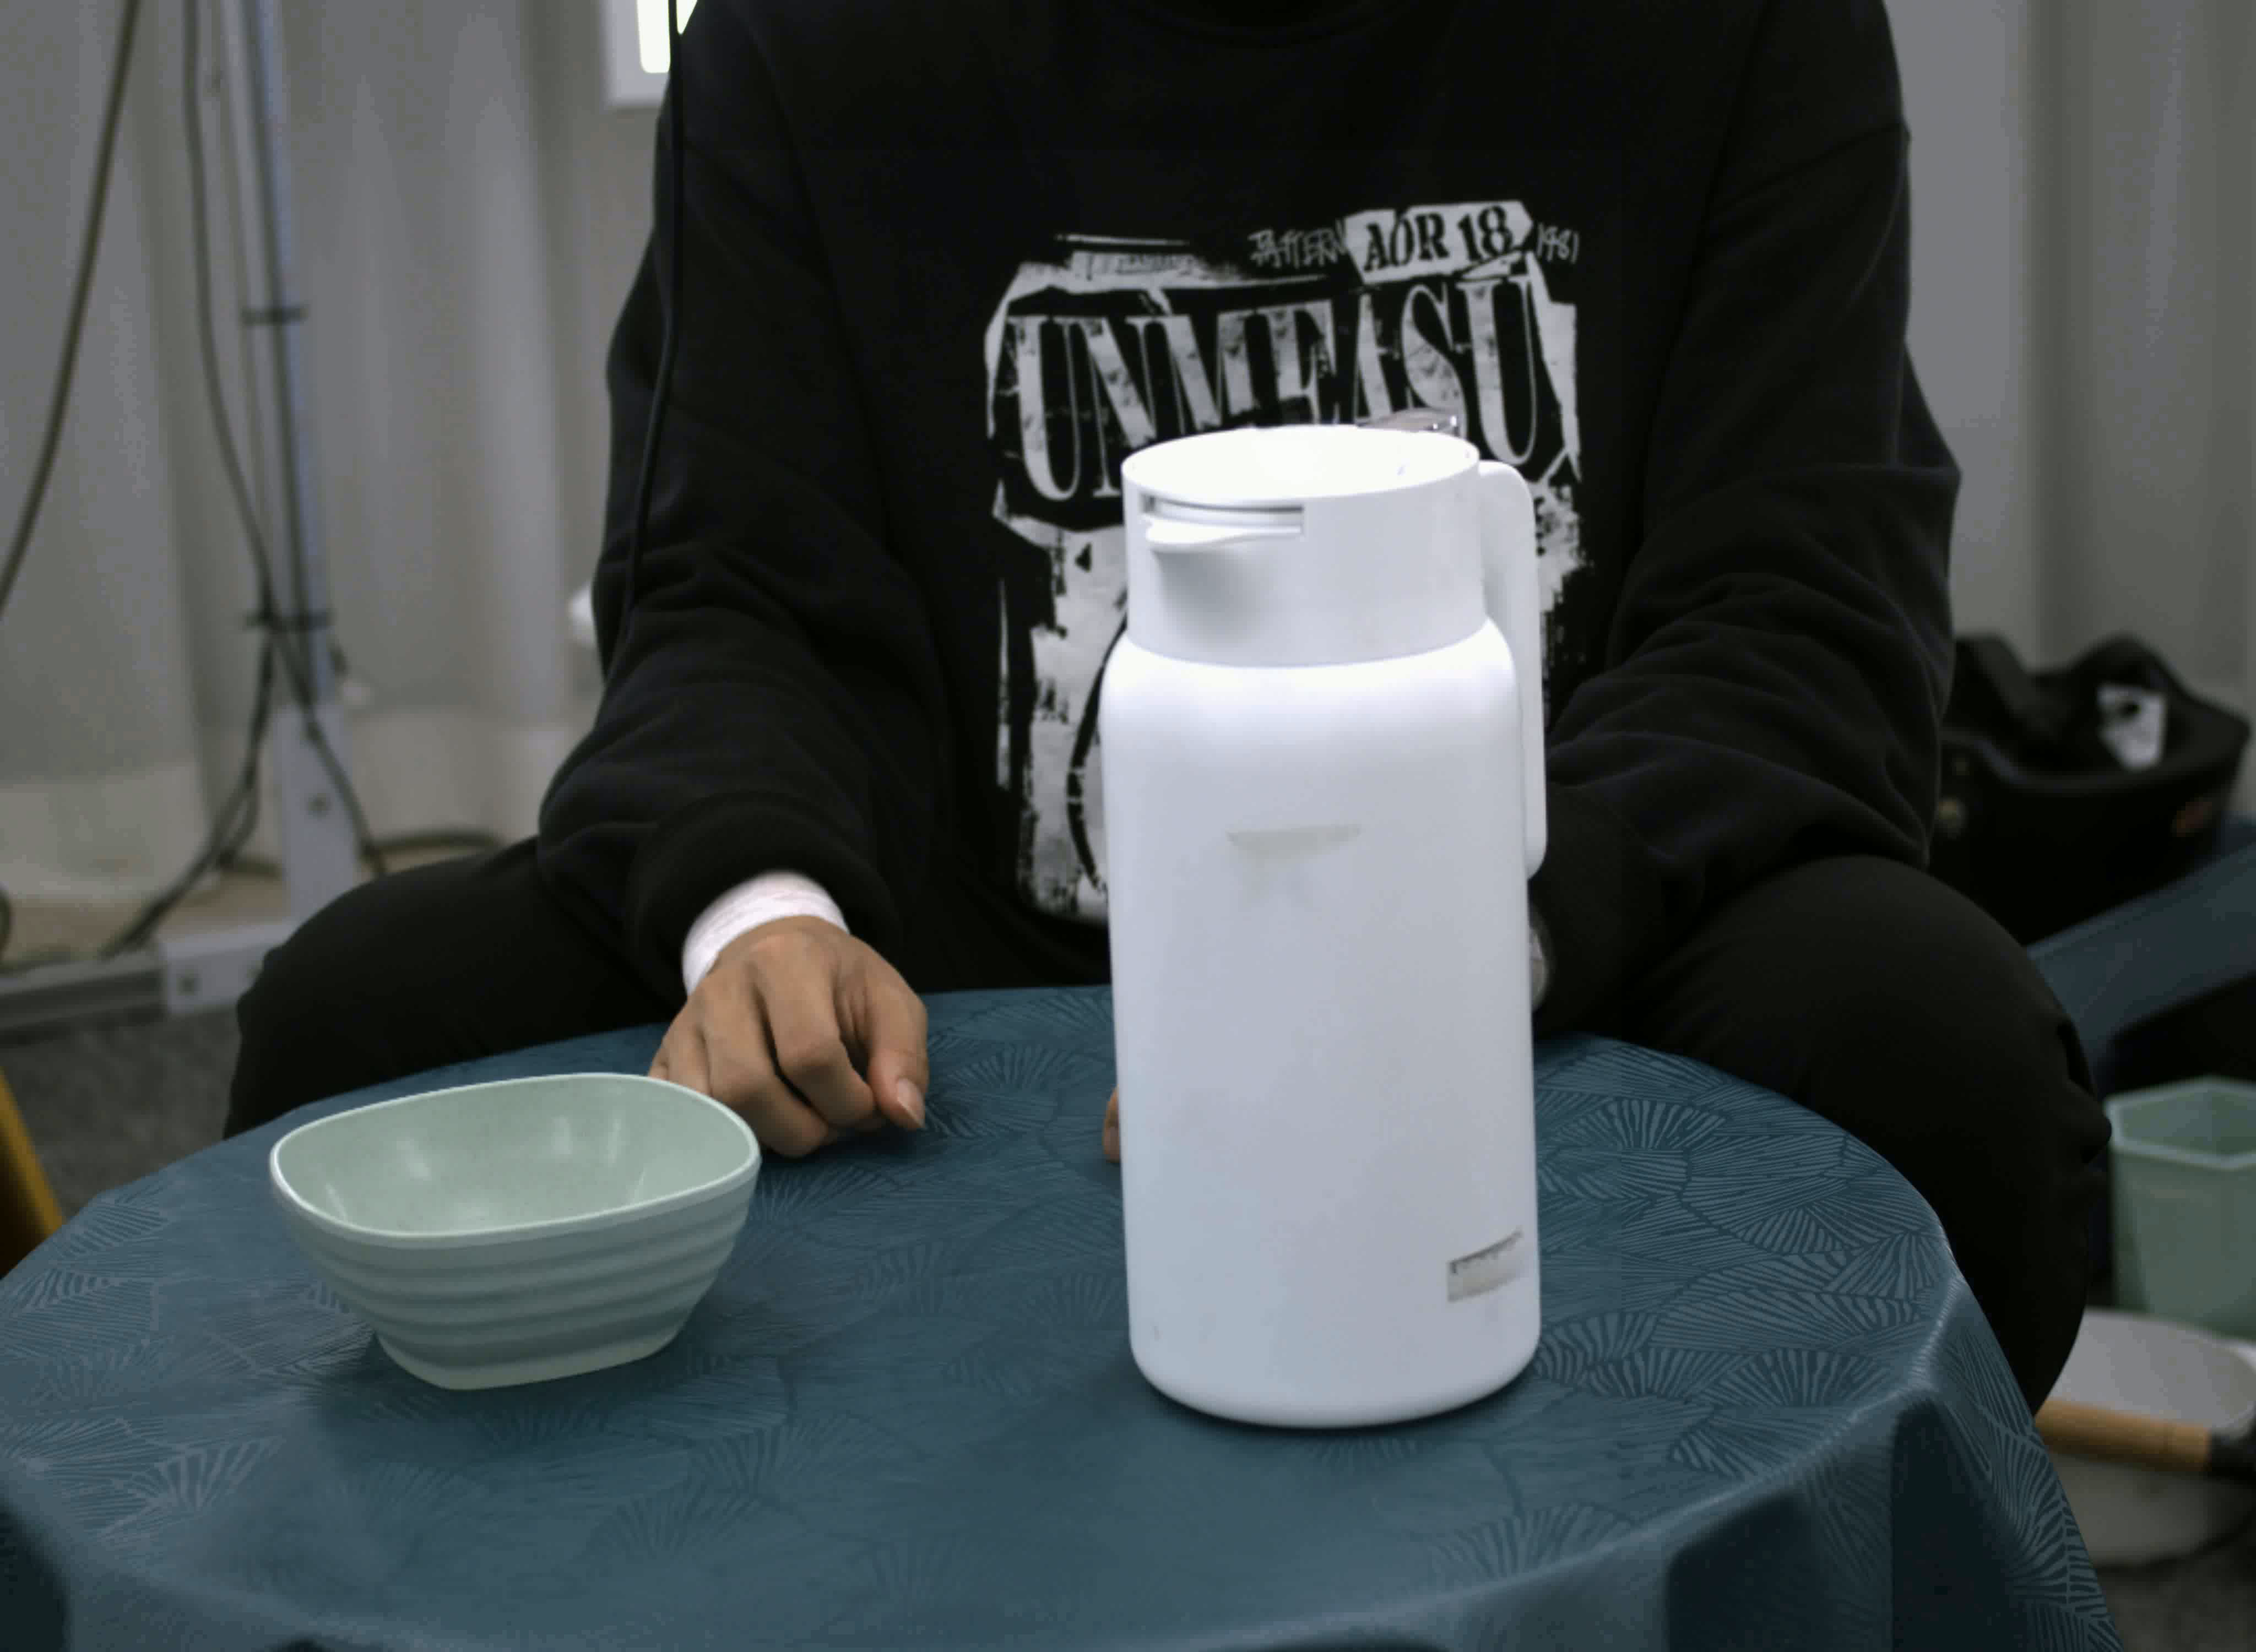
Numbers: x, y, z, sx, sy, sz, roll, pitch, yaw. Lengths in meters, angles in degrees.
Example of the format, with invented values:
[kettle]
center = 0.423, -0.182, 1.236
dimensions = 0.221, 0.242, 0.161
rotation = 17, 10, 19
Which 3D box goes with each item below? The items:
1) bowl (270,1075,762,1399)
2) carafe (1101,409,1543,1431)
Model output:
[bowl]
center = -0.178, 0.124, 1.610
dimensions = 0.151, 0.058, 0.152
rotation = -2, 15, 0
[carafe]
center = 0.062, 0.022, 1.537
dimensions = 0.124, 0.268, 0.173
rotation = 4, 15, 33
